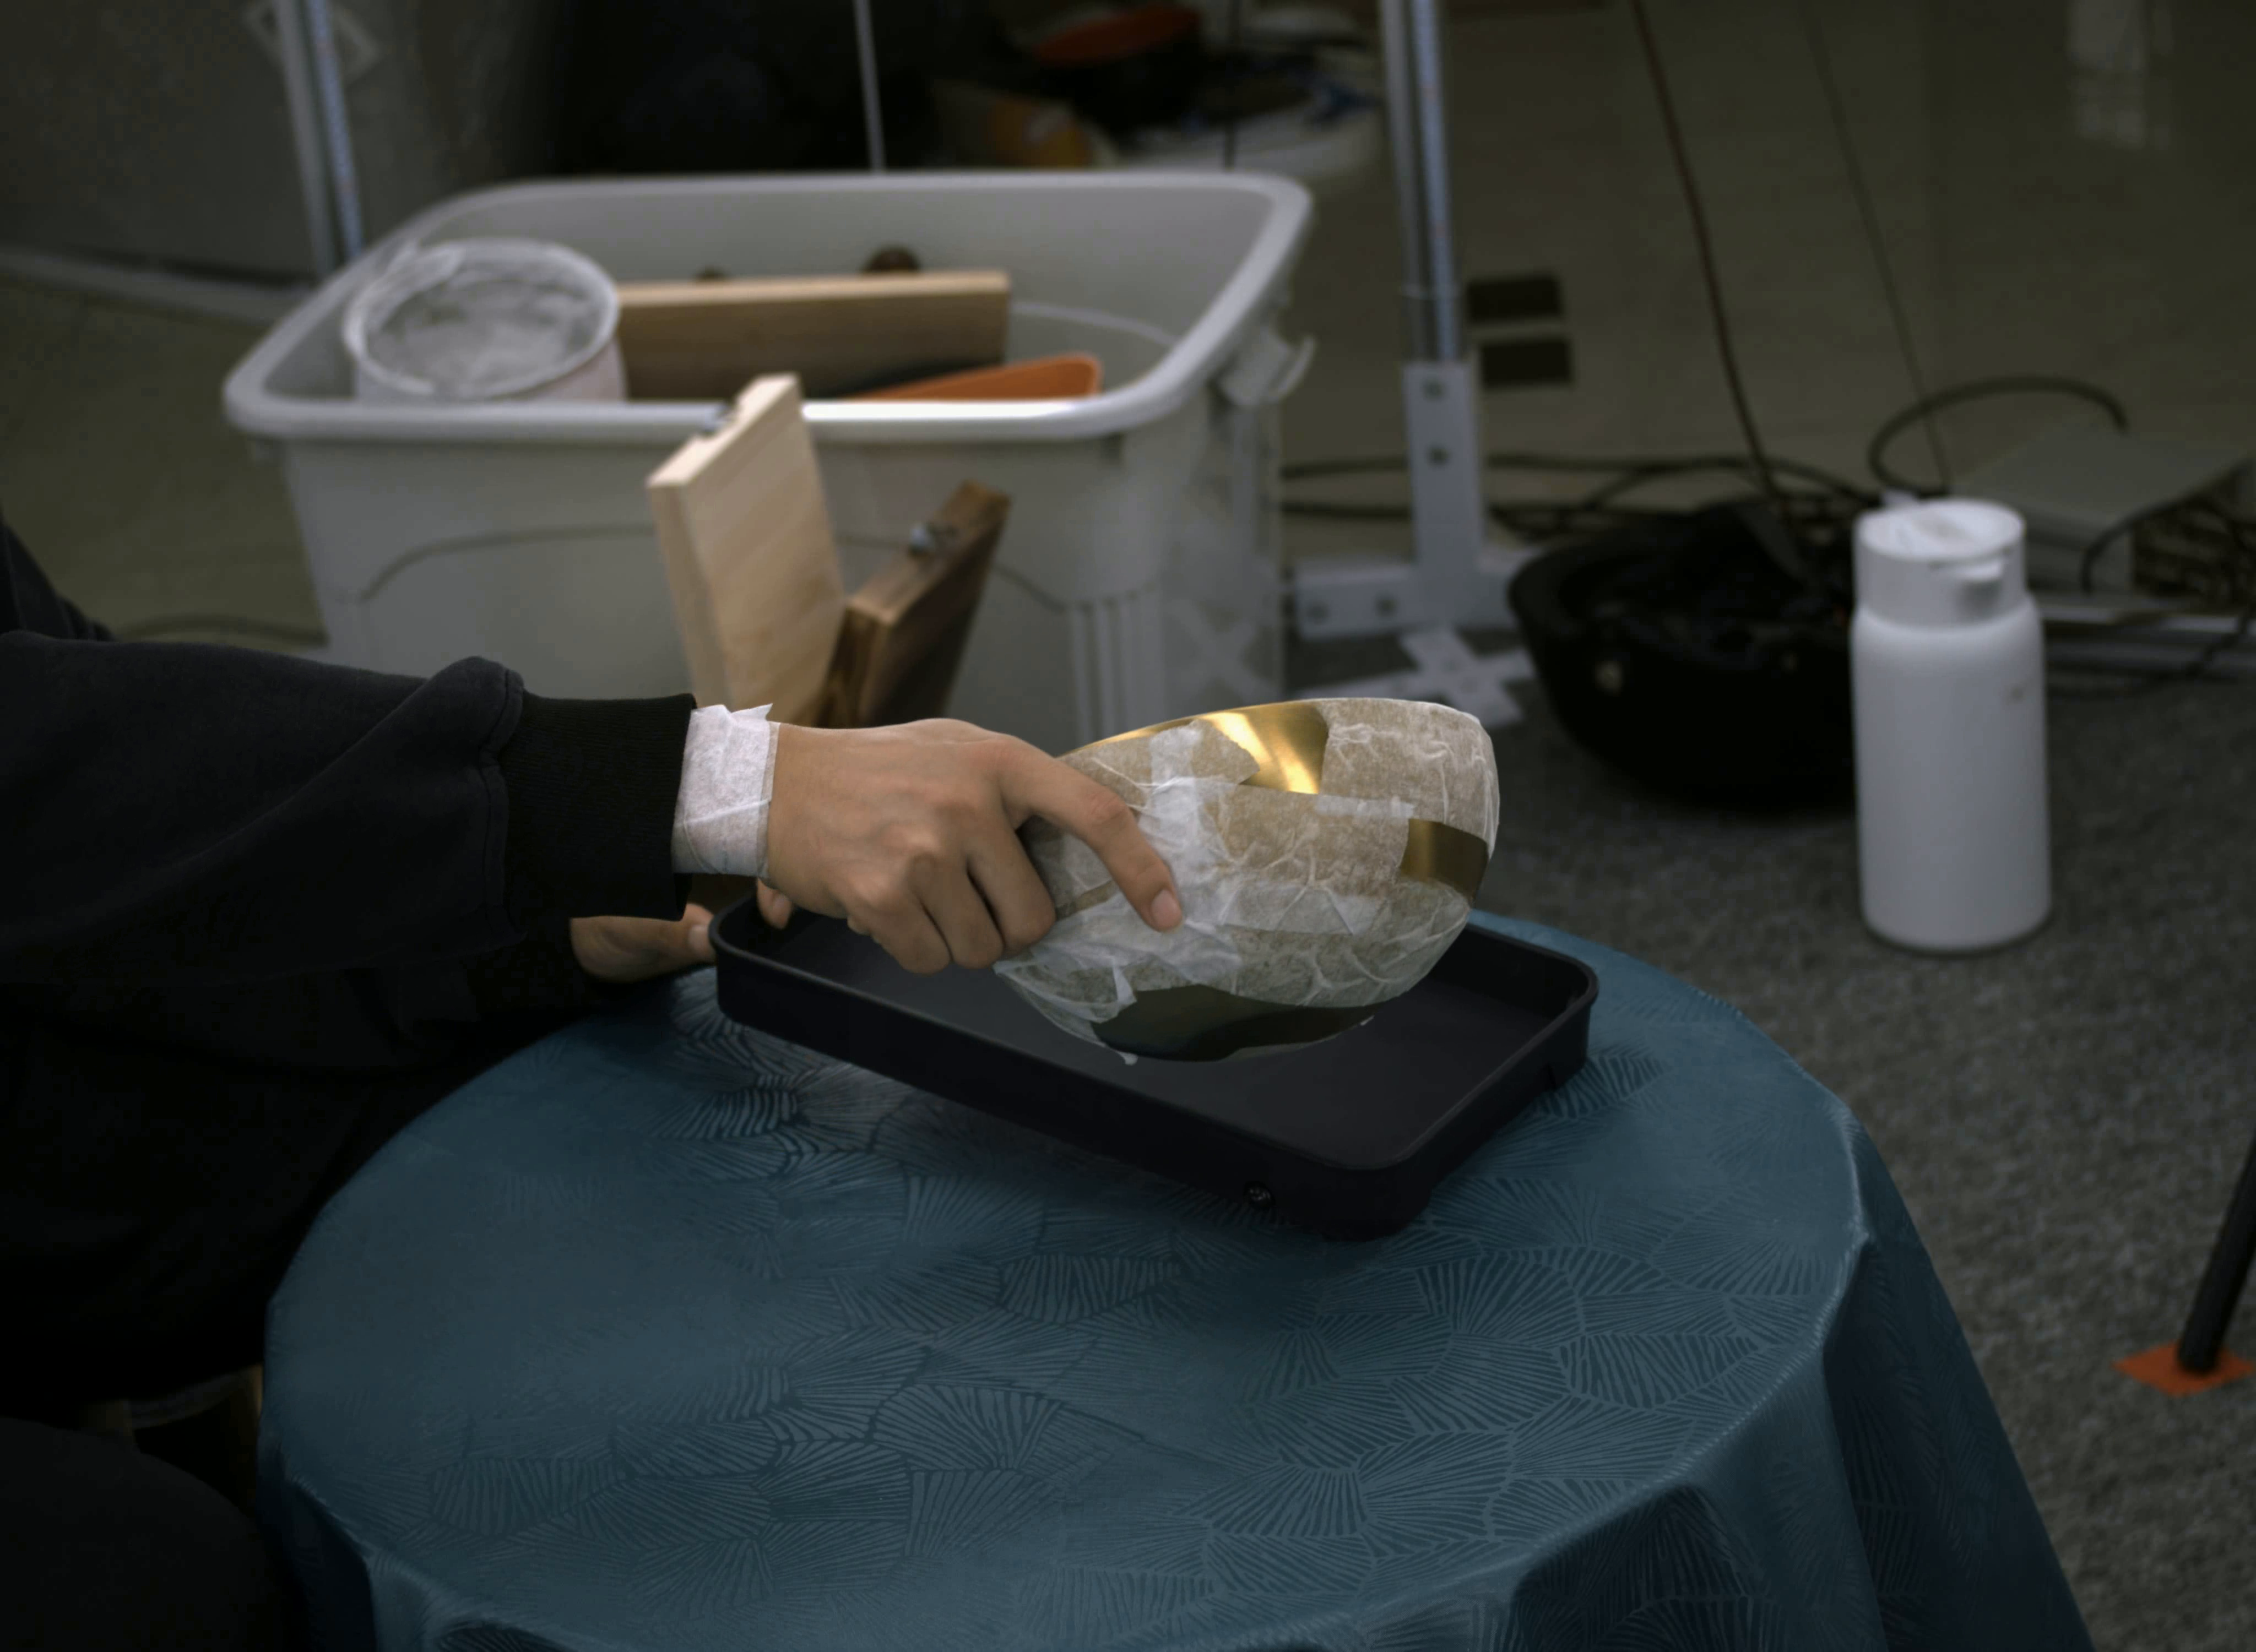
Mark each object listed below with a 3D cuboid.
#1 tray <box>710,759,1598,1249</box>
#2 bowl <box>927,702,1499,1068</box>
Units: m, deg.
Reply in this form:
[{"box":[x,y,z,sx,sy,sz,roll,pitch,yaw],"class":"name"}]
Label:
[{"box":[0.008,0.065,2.216,0.316,0.038,0.182,20,35,28],"class":"tray"},{"box":[0.036,0.034,2.021,0.214,0.094,0.217,-10,-15,-3],"class":"bowl"}]
